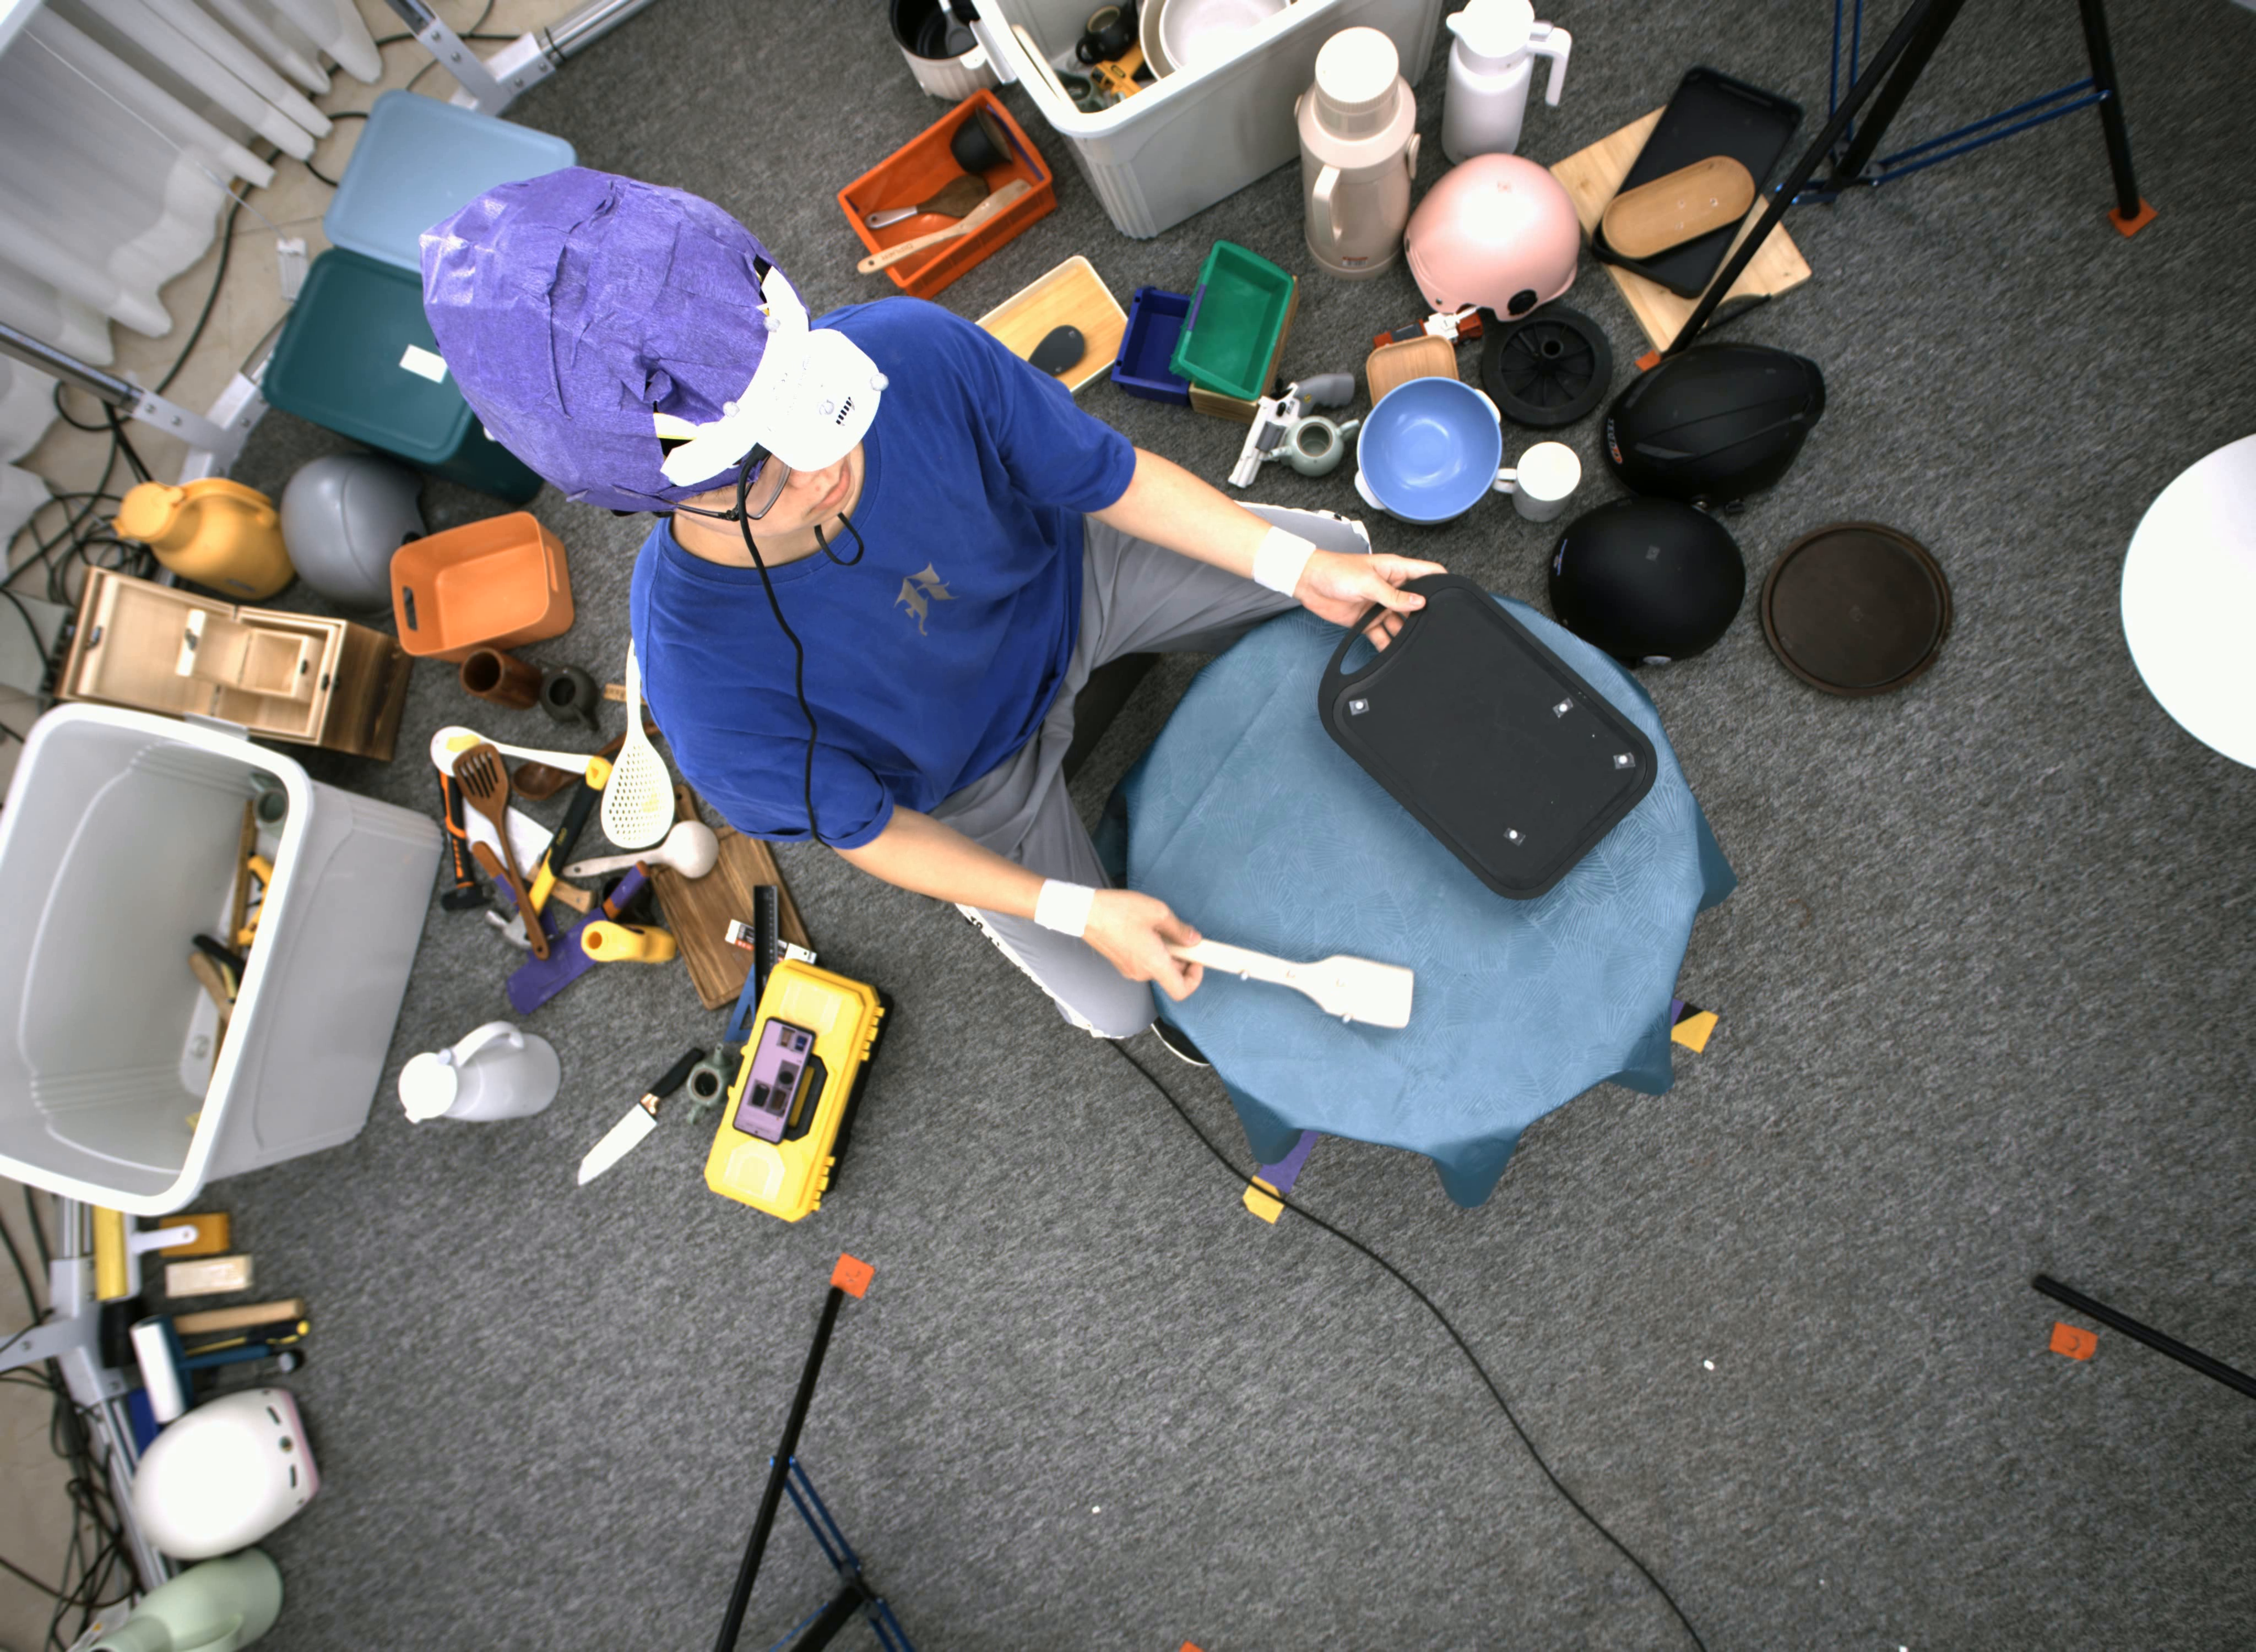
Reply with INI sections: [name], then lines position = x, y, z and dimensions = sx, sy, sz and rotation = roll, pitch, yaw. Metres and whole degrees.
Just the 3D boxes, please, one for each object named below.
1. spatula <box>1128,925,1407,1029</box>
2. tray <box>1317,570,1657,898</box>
[spatula]
position = 0.142, 0.148, 1.430
dimensions = 0.293, 0.011, 0.070
rotation = 13, 53, 3
[tray]
position = 0.343, -0.099, 1.354
dimensions = 0.324, 0.010, 0.213
rotation = 46, 104, 10
